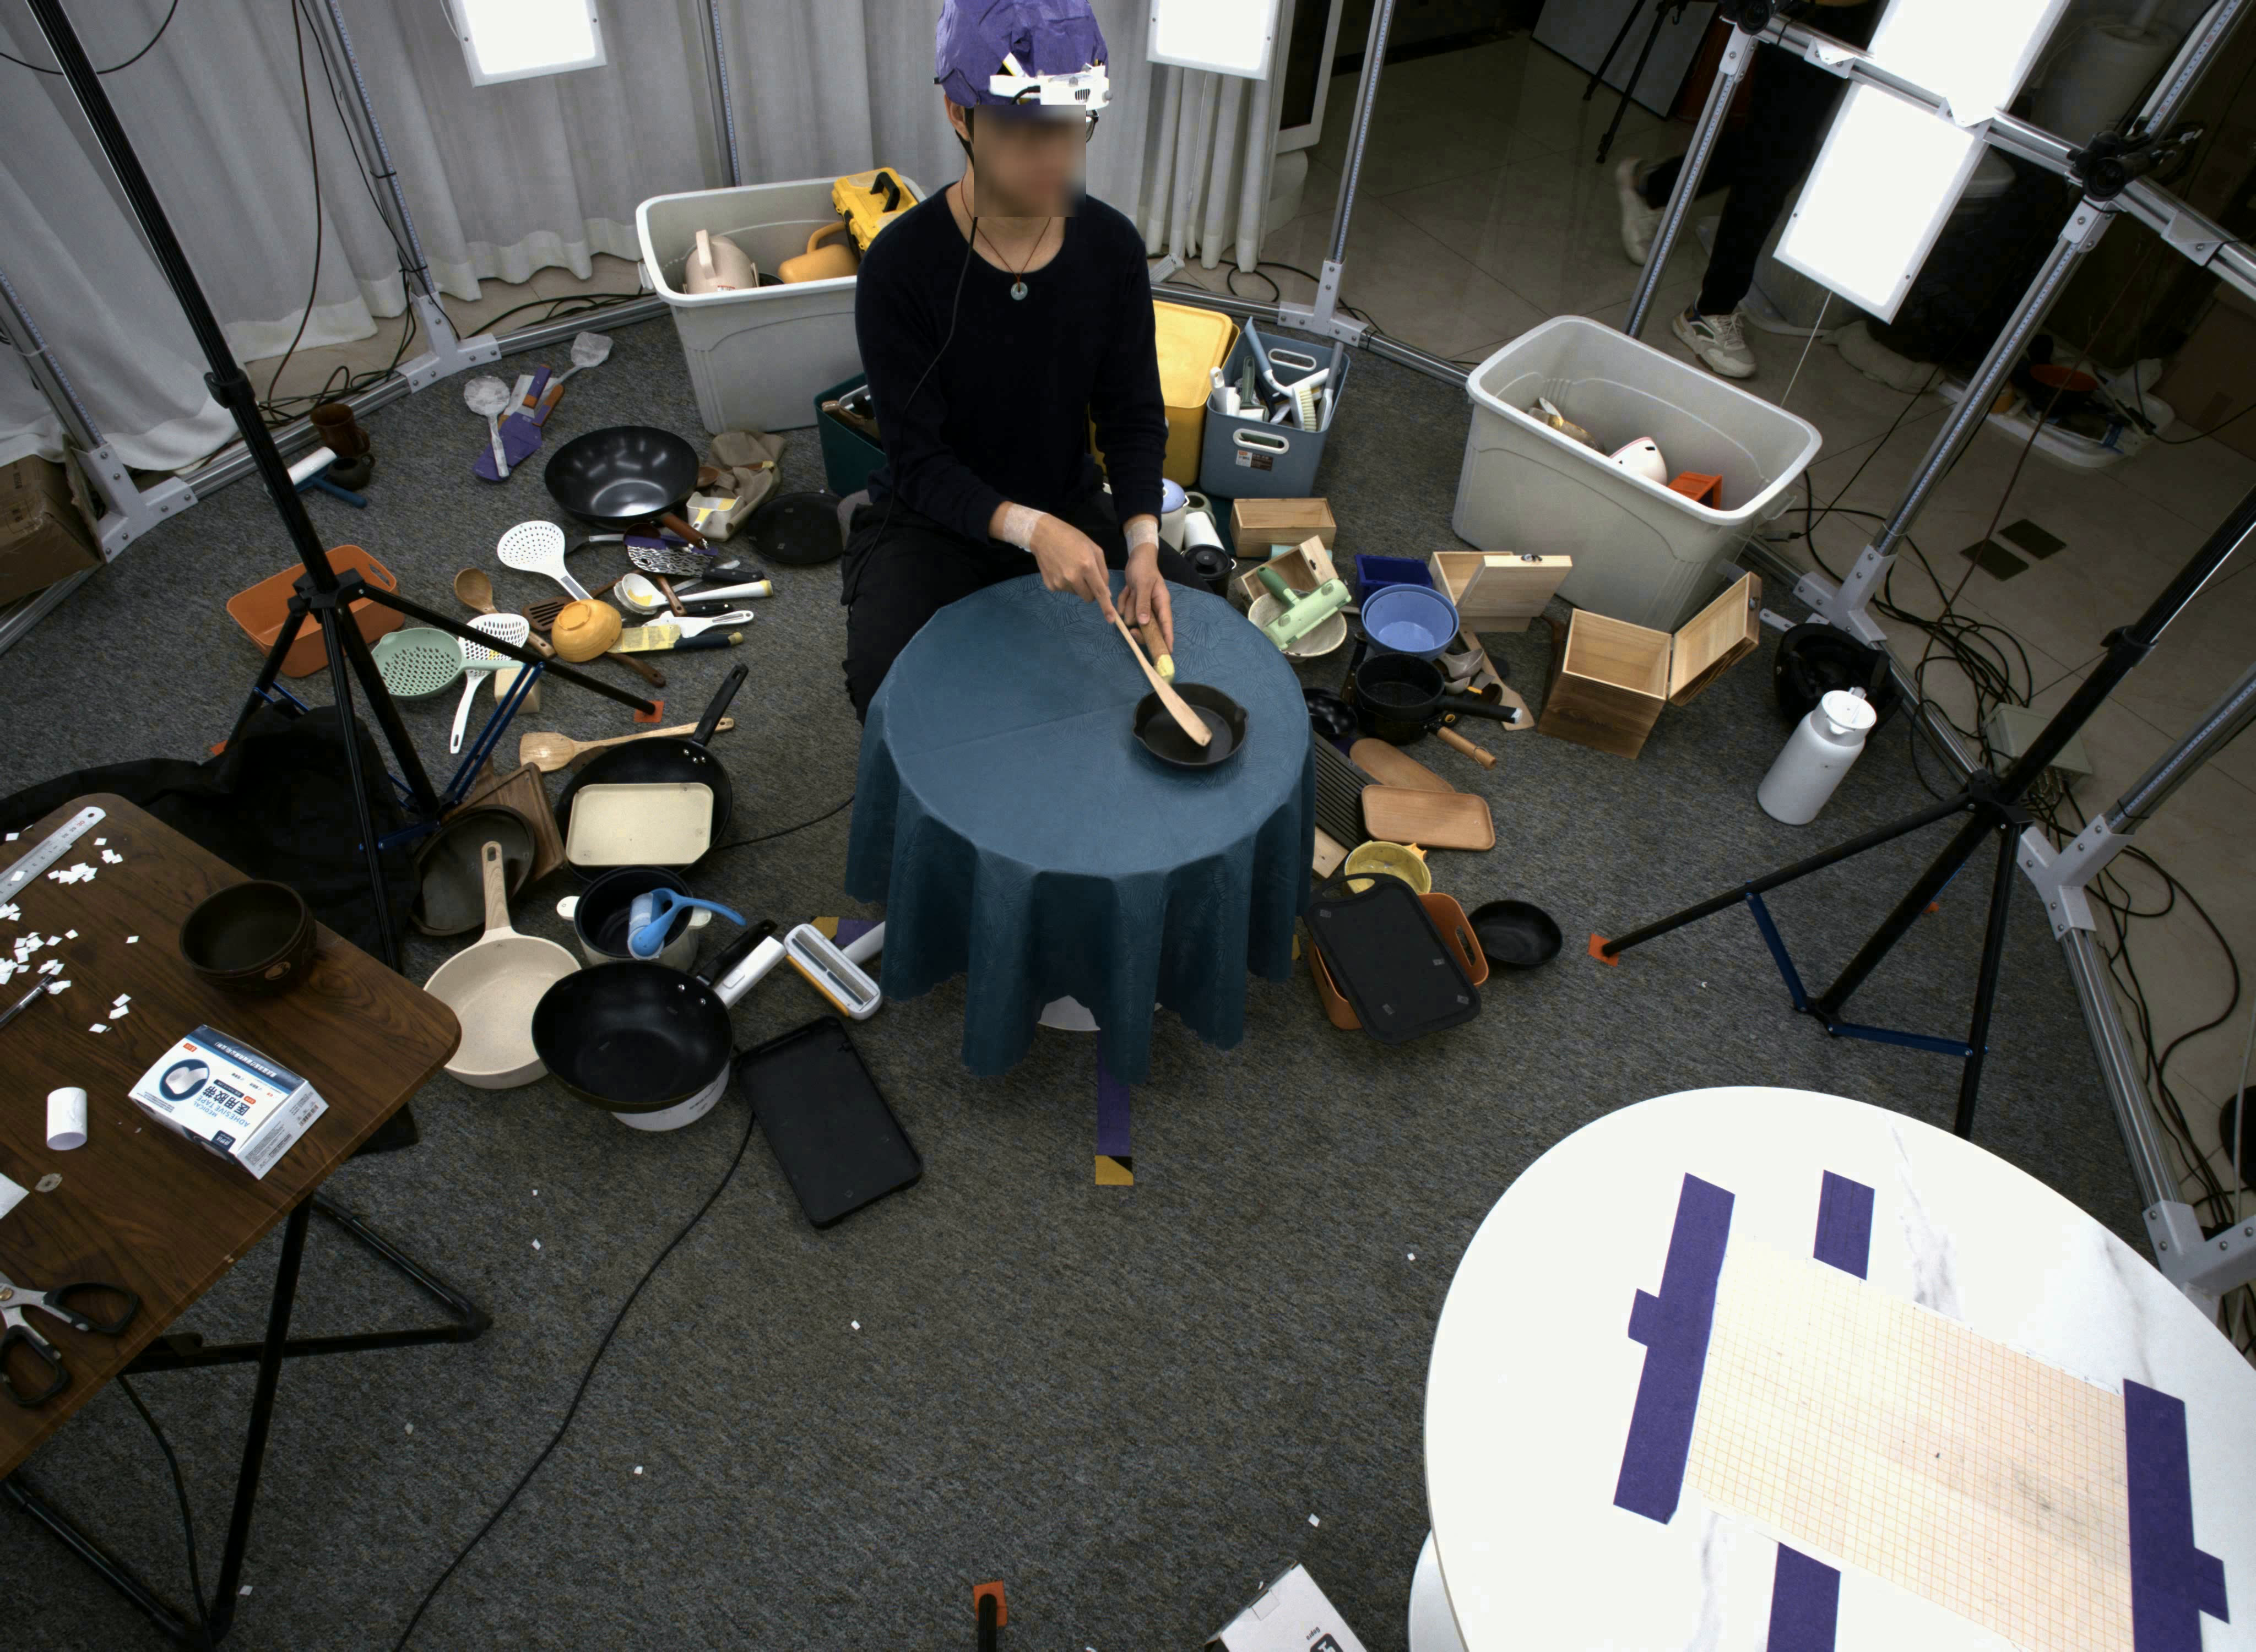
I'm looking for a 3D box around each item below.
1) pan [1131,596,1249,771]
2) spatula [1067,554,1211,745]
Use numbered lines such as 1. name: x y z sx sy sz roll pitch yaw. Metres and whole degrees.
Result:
1. pan: 0.063 -0.203 1.816 0.169 0.048 0.332 -9 52 -12
2. spatula: 0.015 -0.245 1.771 0.329 0.016 0.080 55 22 6
